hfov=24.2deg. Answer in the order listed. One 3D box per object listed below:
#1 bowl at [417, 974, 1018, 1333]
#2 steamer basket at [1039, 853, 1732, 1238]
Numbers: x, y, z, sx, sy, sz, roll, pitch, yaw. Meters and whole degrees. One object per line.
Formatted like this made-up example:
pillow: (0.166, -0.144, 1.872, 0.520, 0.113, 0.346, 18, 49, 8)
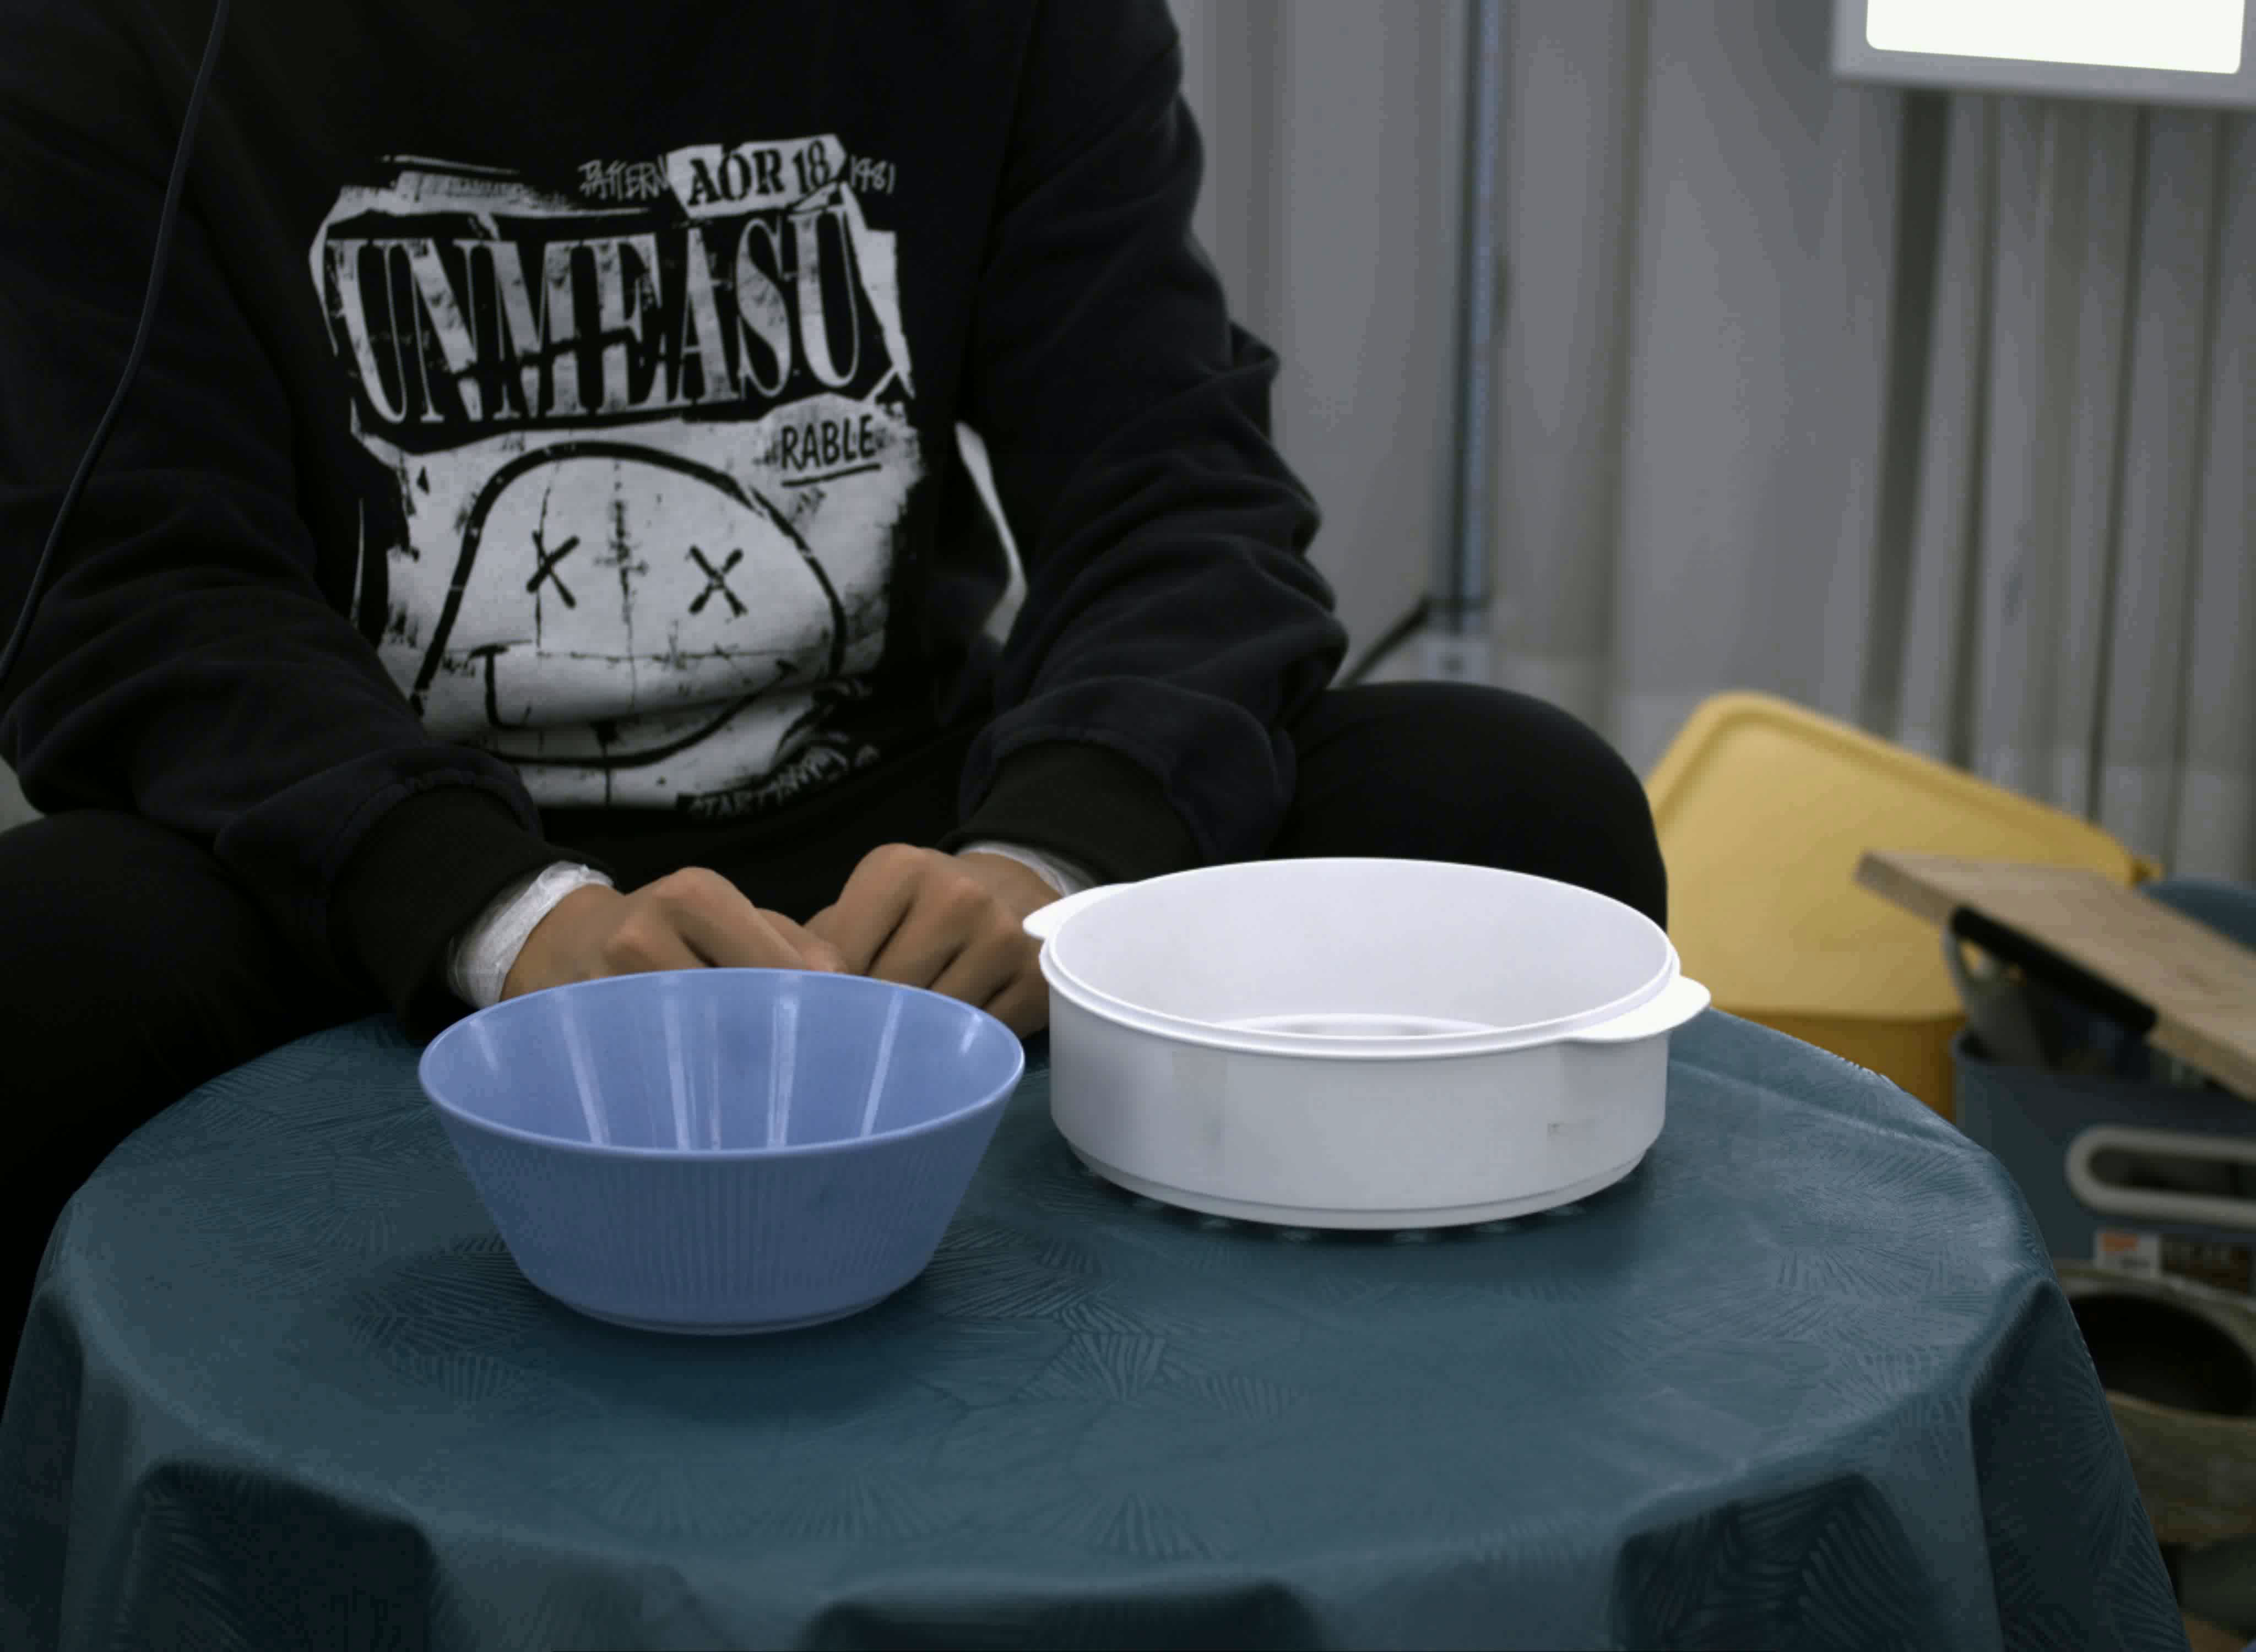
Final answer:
bowl: (-0.120, 0.098, 1.542, 0.175, 0.071, 0.175, 1, 15, 0)
steamer basket: (0.077, 0.069, 1.658, 0.228, 0.070, 0.202, 13, 20, 29)
